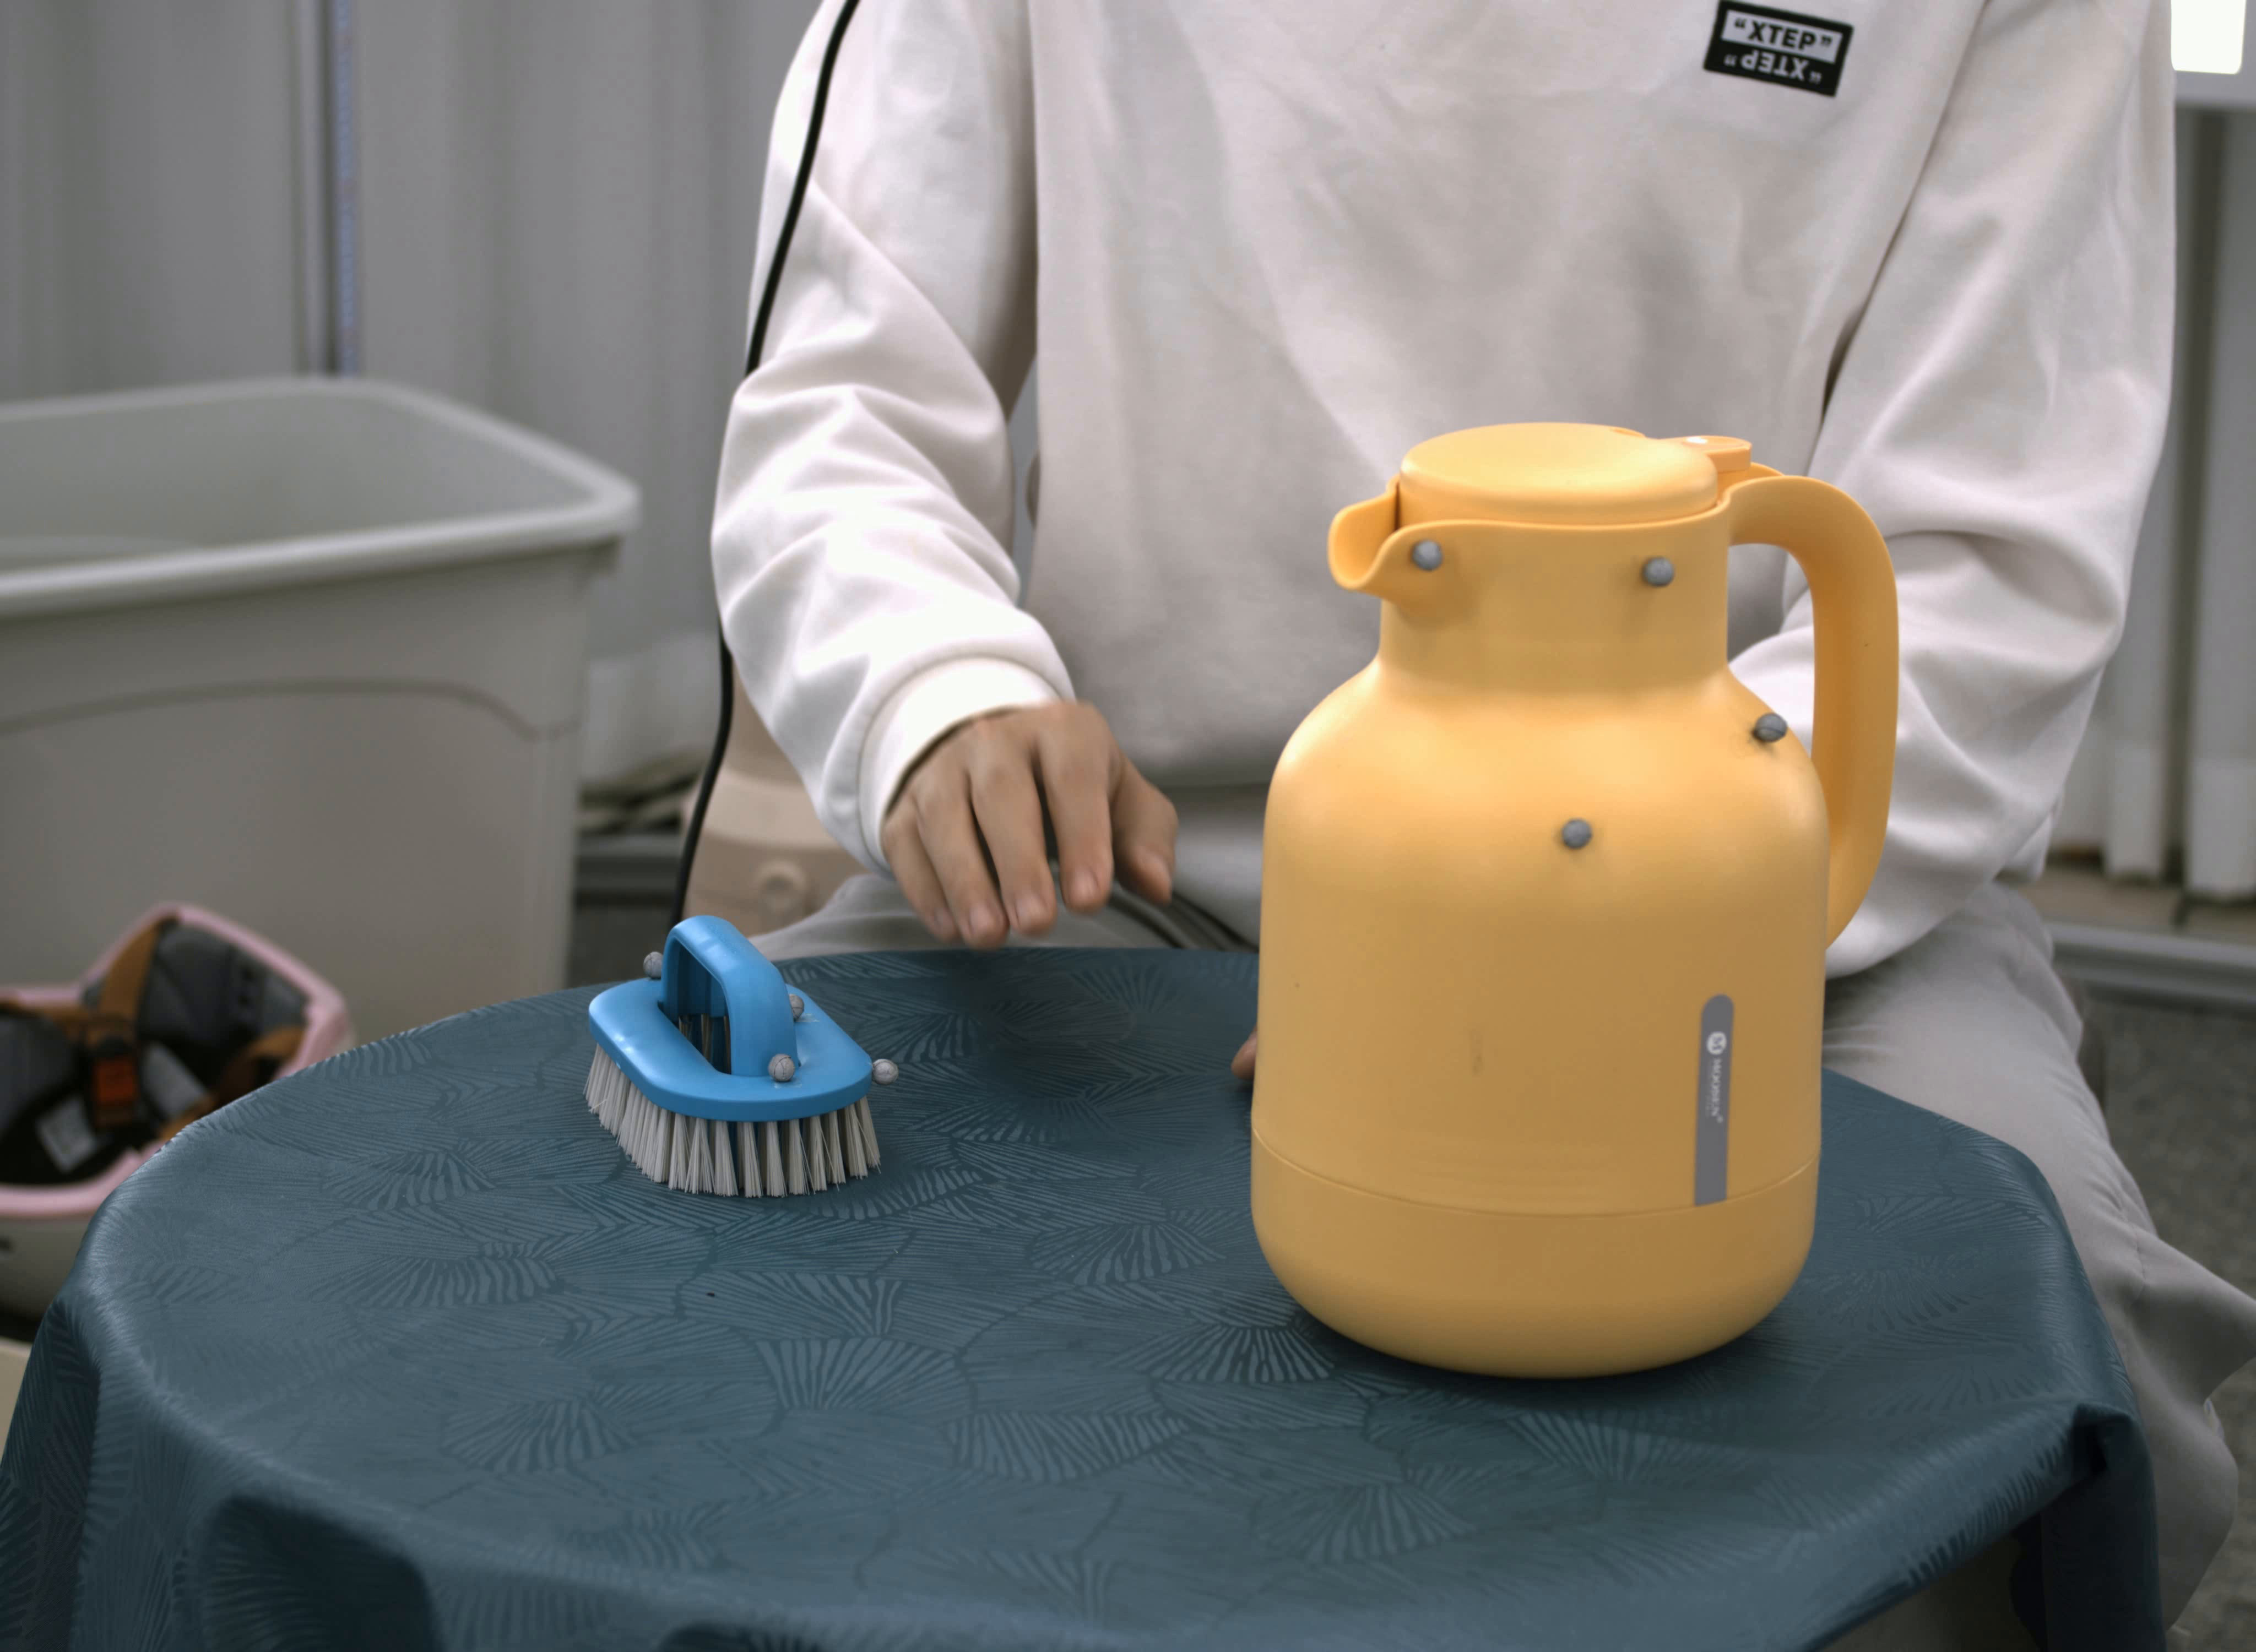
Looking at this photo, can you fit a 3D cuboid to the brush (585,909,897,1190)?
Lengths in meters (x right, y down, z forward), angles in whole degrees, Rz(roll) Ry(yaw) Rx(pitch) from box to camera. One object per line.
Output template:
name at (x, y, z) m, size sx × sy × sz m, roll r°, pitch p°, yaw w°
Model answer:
brush at (-0.126, 0.064, 1.673) m, size 0.084 × 0.064 × 0.140 m, roll -10°, pitch 17°, yaw -16°

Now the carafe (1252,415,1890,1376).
carafe at (0.134, 0.013, 1.505) m, size 0.203 × 0.263 × 0.161 m, roll -11°, pitch 22°, yaw -32°
